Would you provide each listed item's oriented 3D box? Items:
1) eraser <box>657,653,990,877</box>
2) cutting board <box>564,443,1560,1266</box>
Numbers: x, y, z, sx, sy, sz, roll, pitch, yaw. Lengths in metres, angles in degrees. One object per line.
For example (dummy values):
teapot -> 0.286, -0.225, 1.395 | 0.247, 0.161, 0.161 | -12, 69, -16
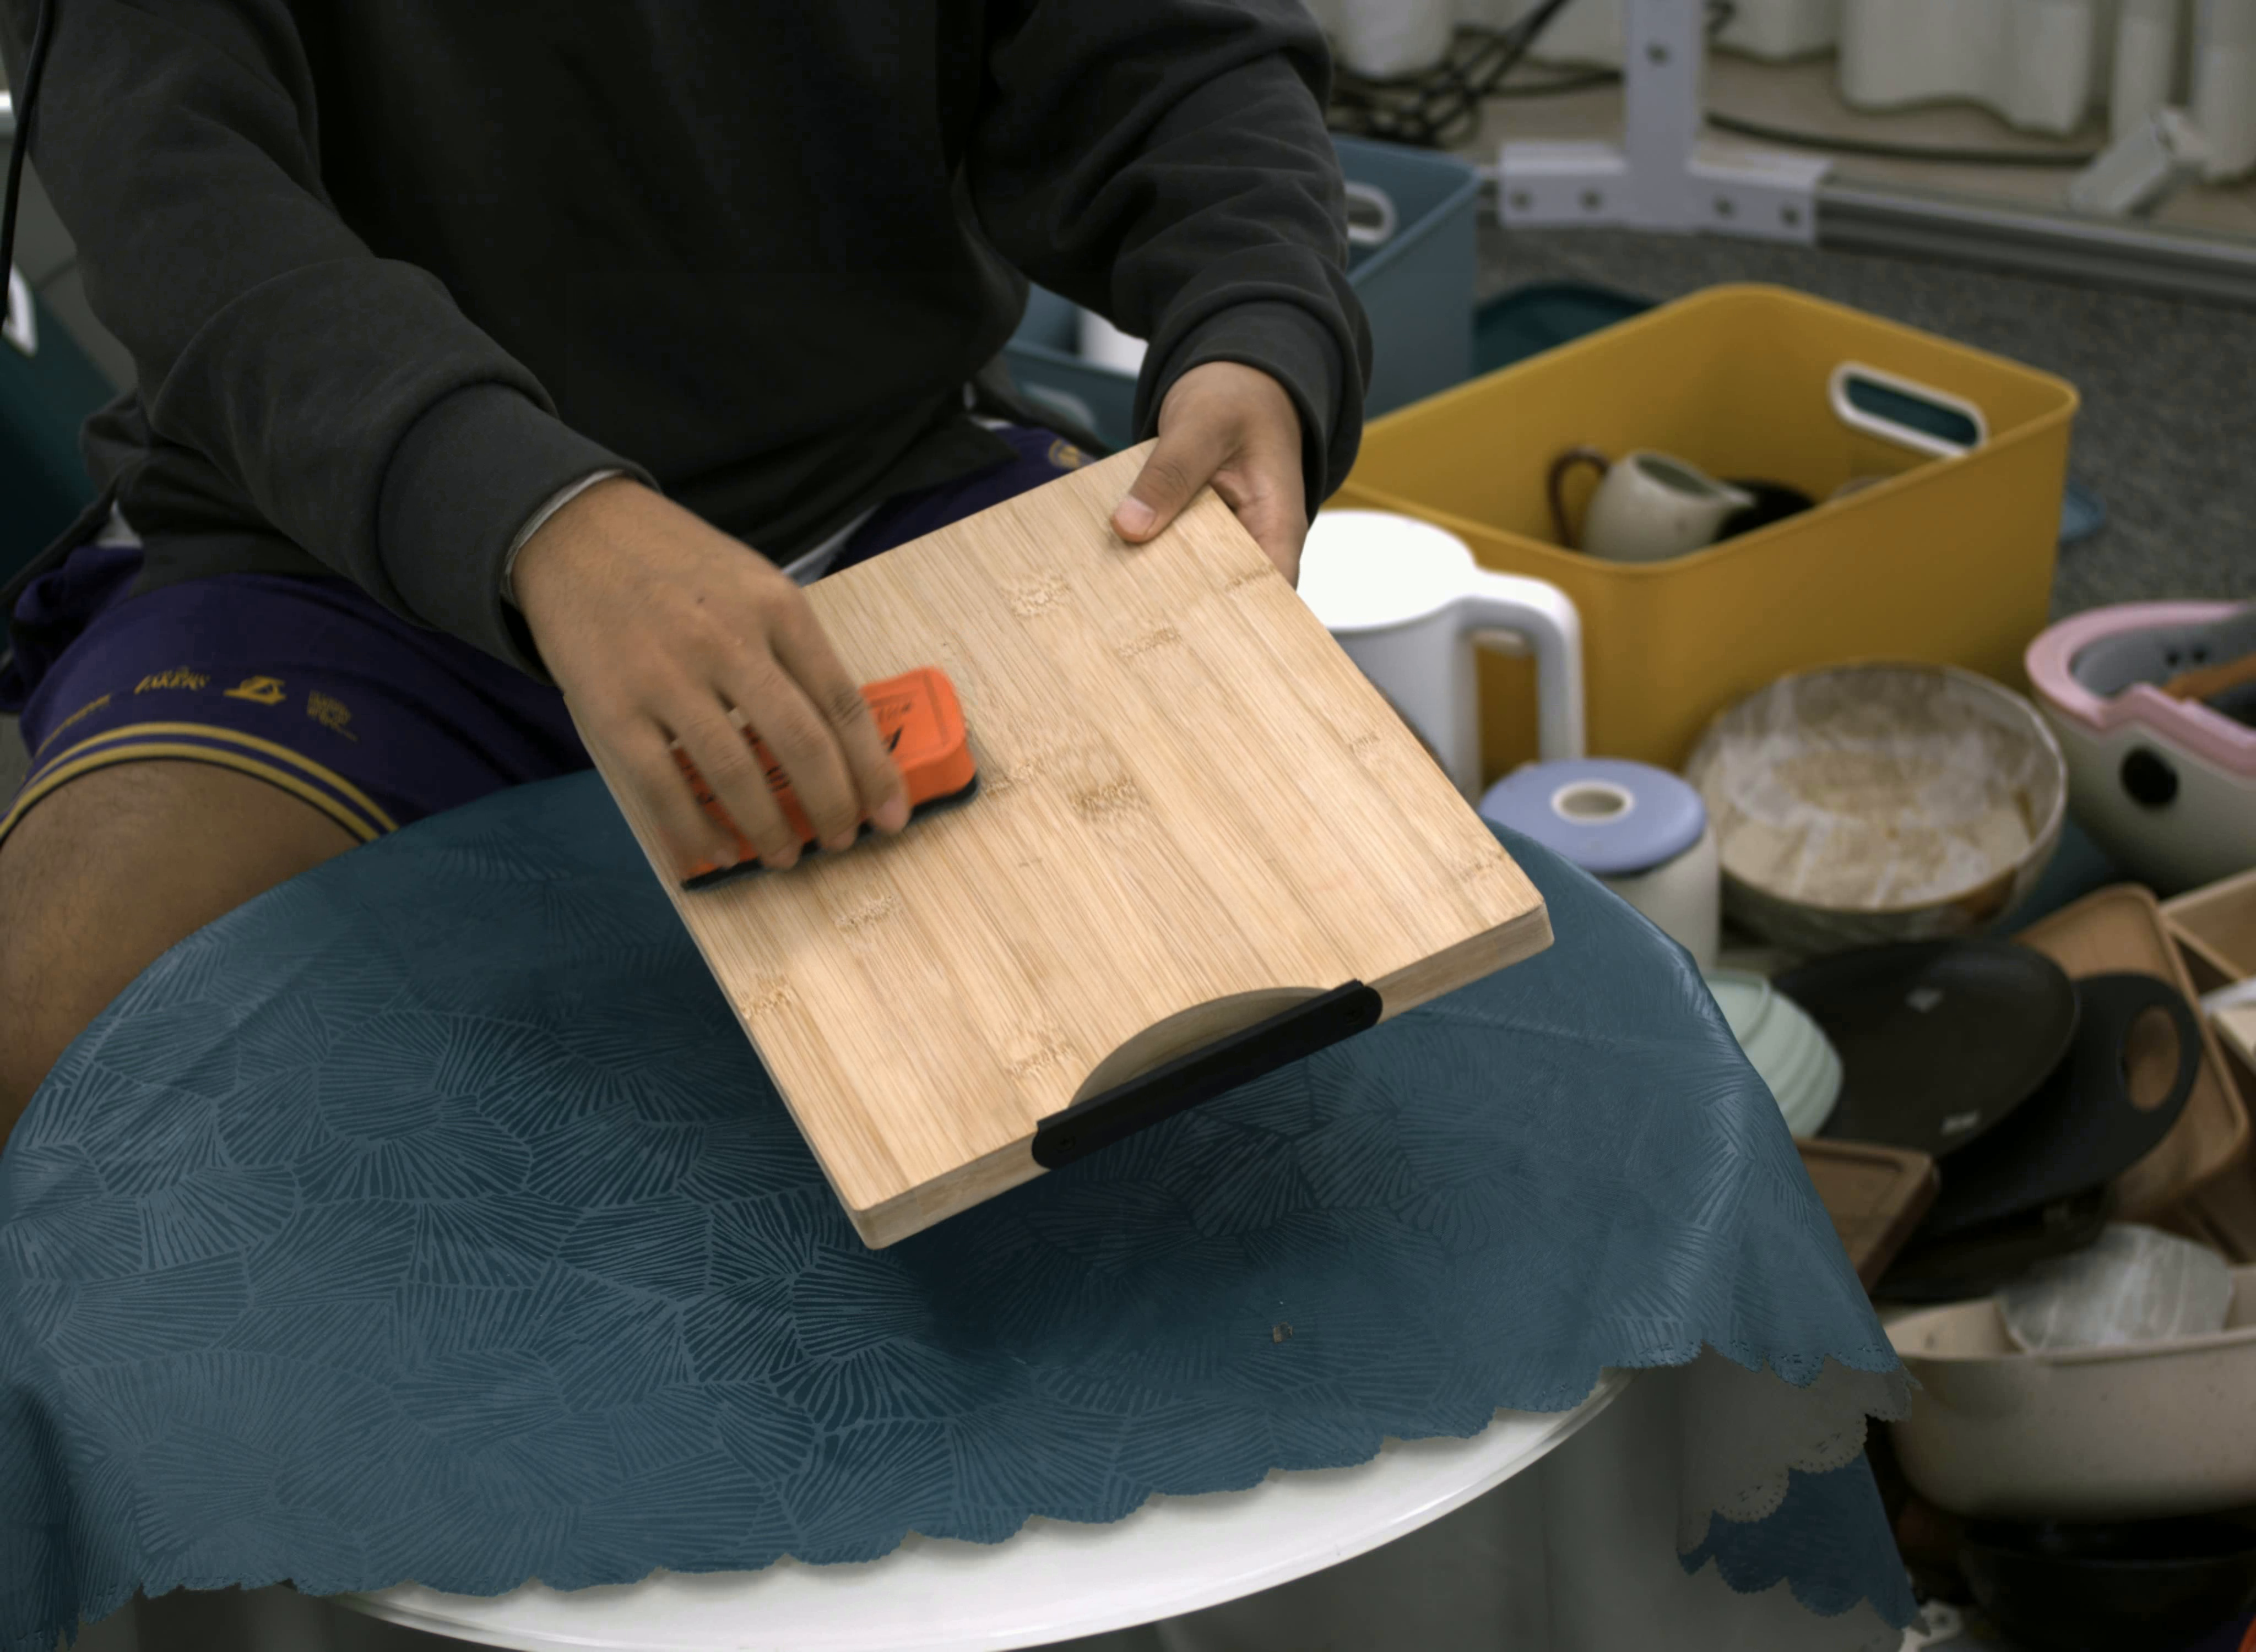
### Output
eraser -> -0.103, -0.021, 1.901 | 0.108, 0.022, 0.060 | -18, 36, -2
cutting board -> -0.032, -0.002, 1.882 | 0.251, 0.023, 0.352 | -24, 36, -10
